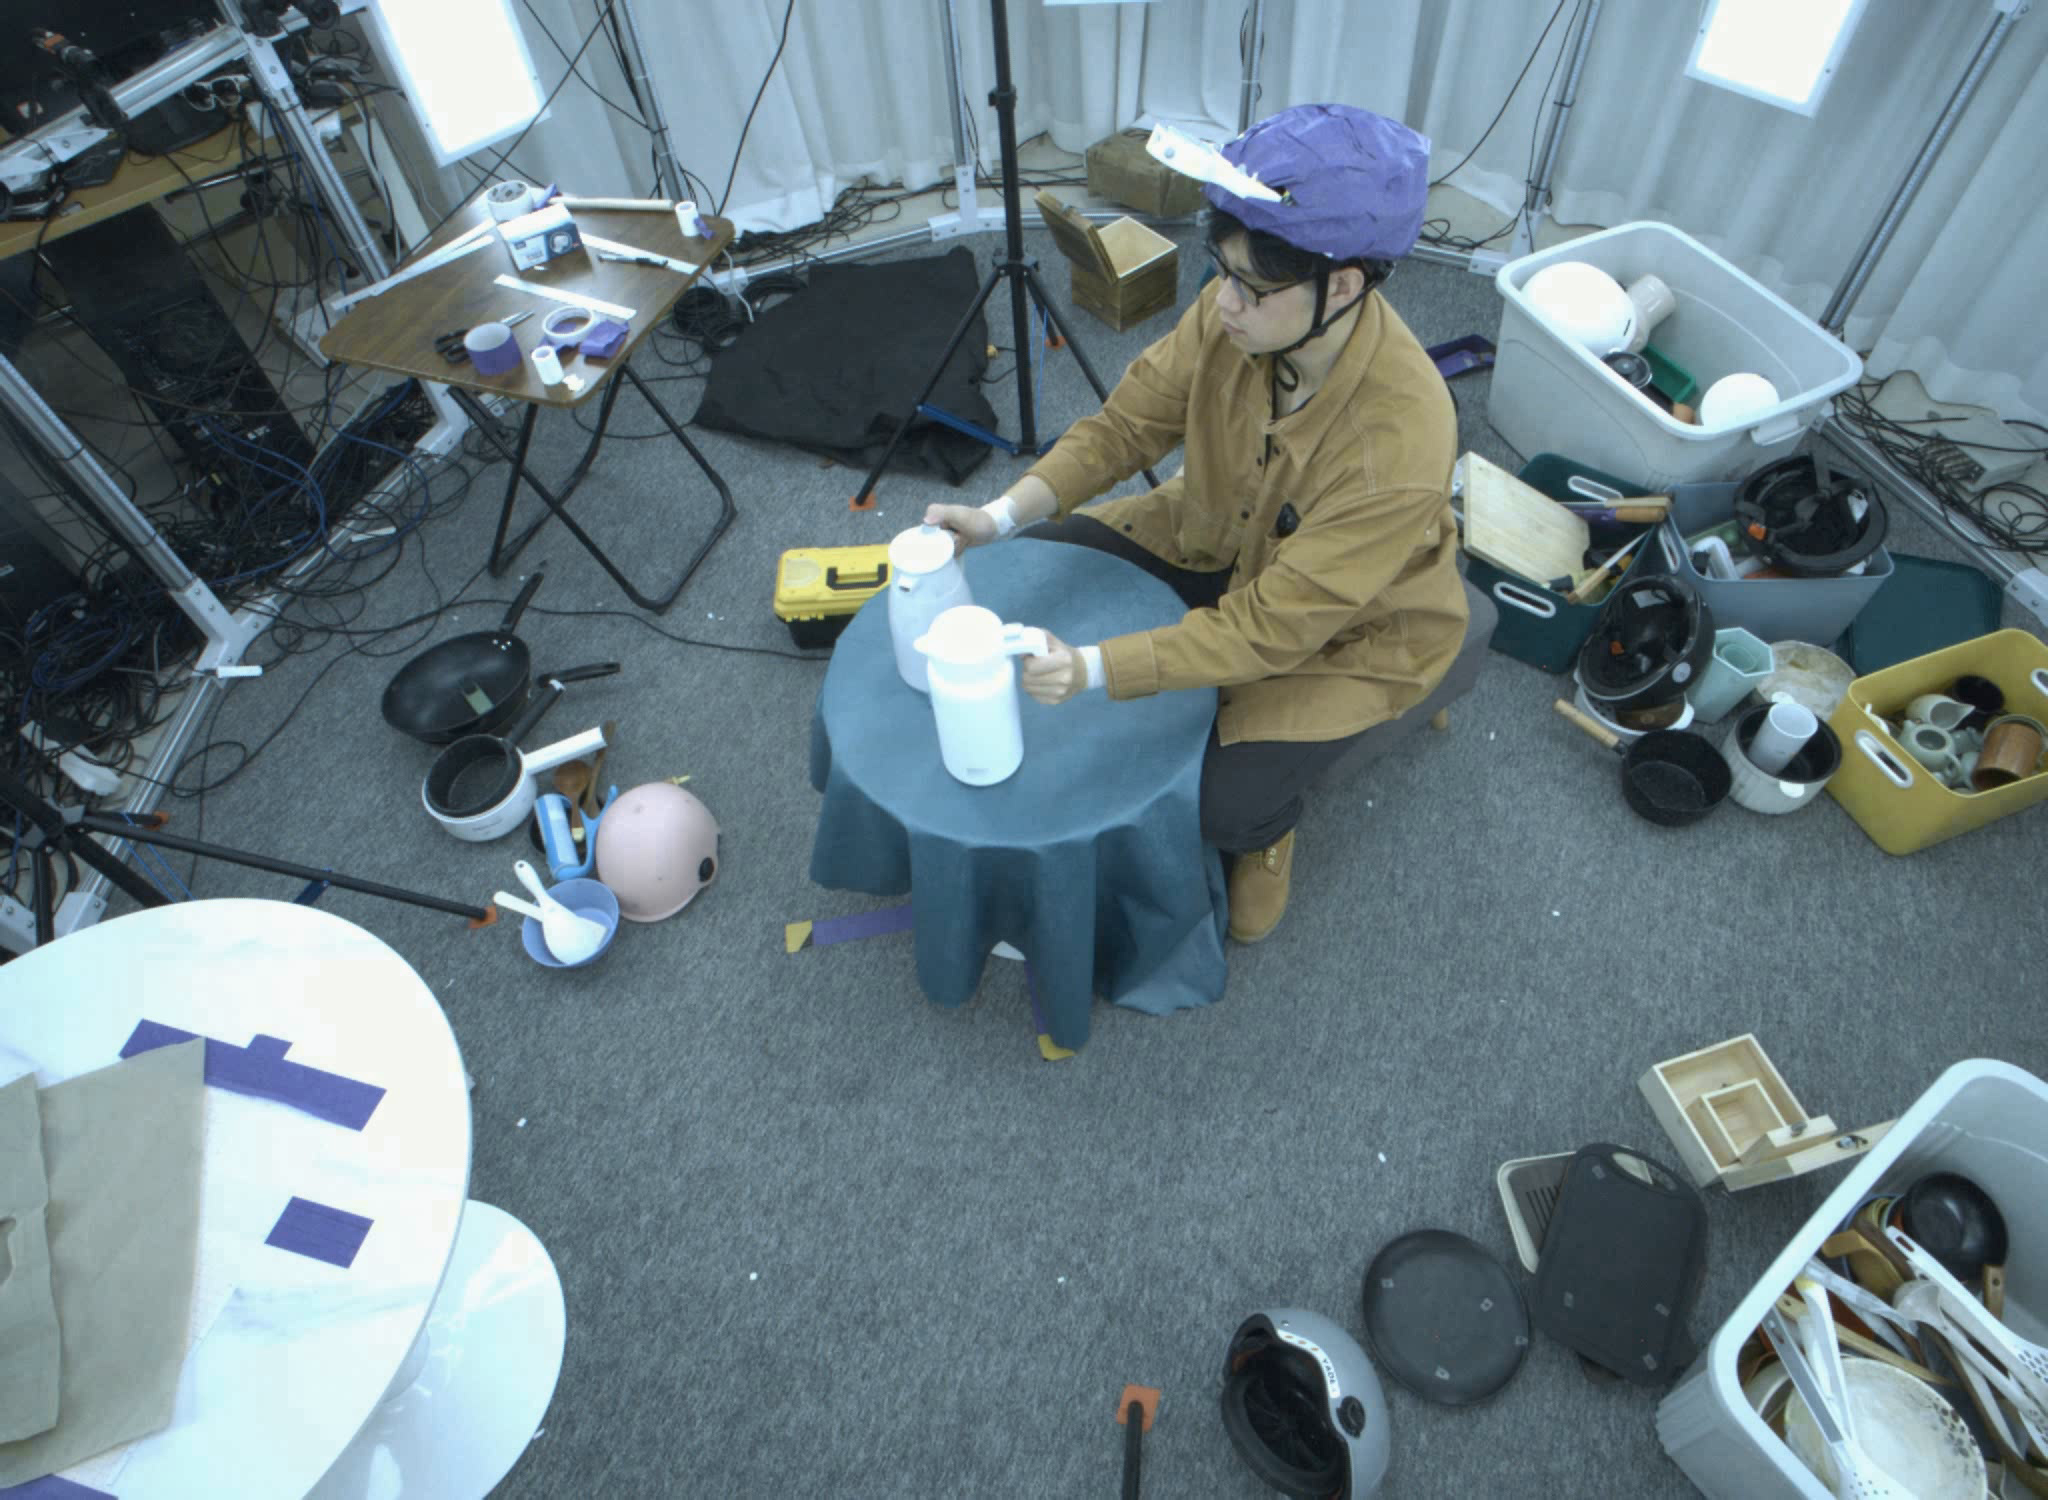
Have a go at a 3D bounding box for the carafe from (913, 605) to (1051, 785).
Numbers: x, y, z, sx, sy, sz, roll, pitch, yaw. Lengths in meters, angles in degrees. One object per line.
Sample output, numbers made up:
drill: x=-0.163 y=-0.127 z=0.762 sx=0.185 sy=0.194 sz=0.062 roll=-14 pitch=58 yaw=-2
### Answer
carafe: x=-0.050 y=-0.075 z=1.673 sx=0.173 sy=0.272 sz=0.122 roll=-8 pitch=52 yaw=-2

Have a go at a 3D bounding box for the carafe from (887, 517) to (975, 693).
carafe: x=-0.132 y=-0.225 z=1.795 sx=0.131 sy=0.251 sz=0.167 roll=15 pitch=56 yaw=14
